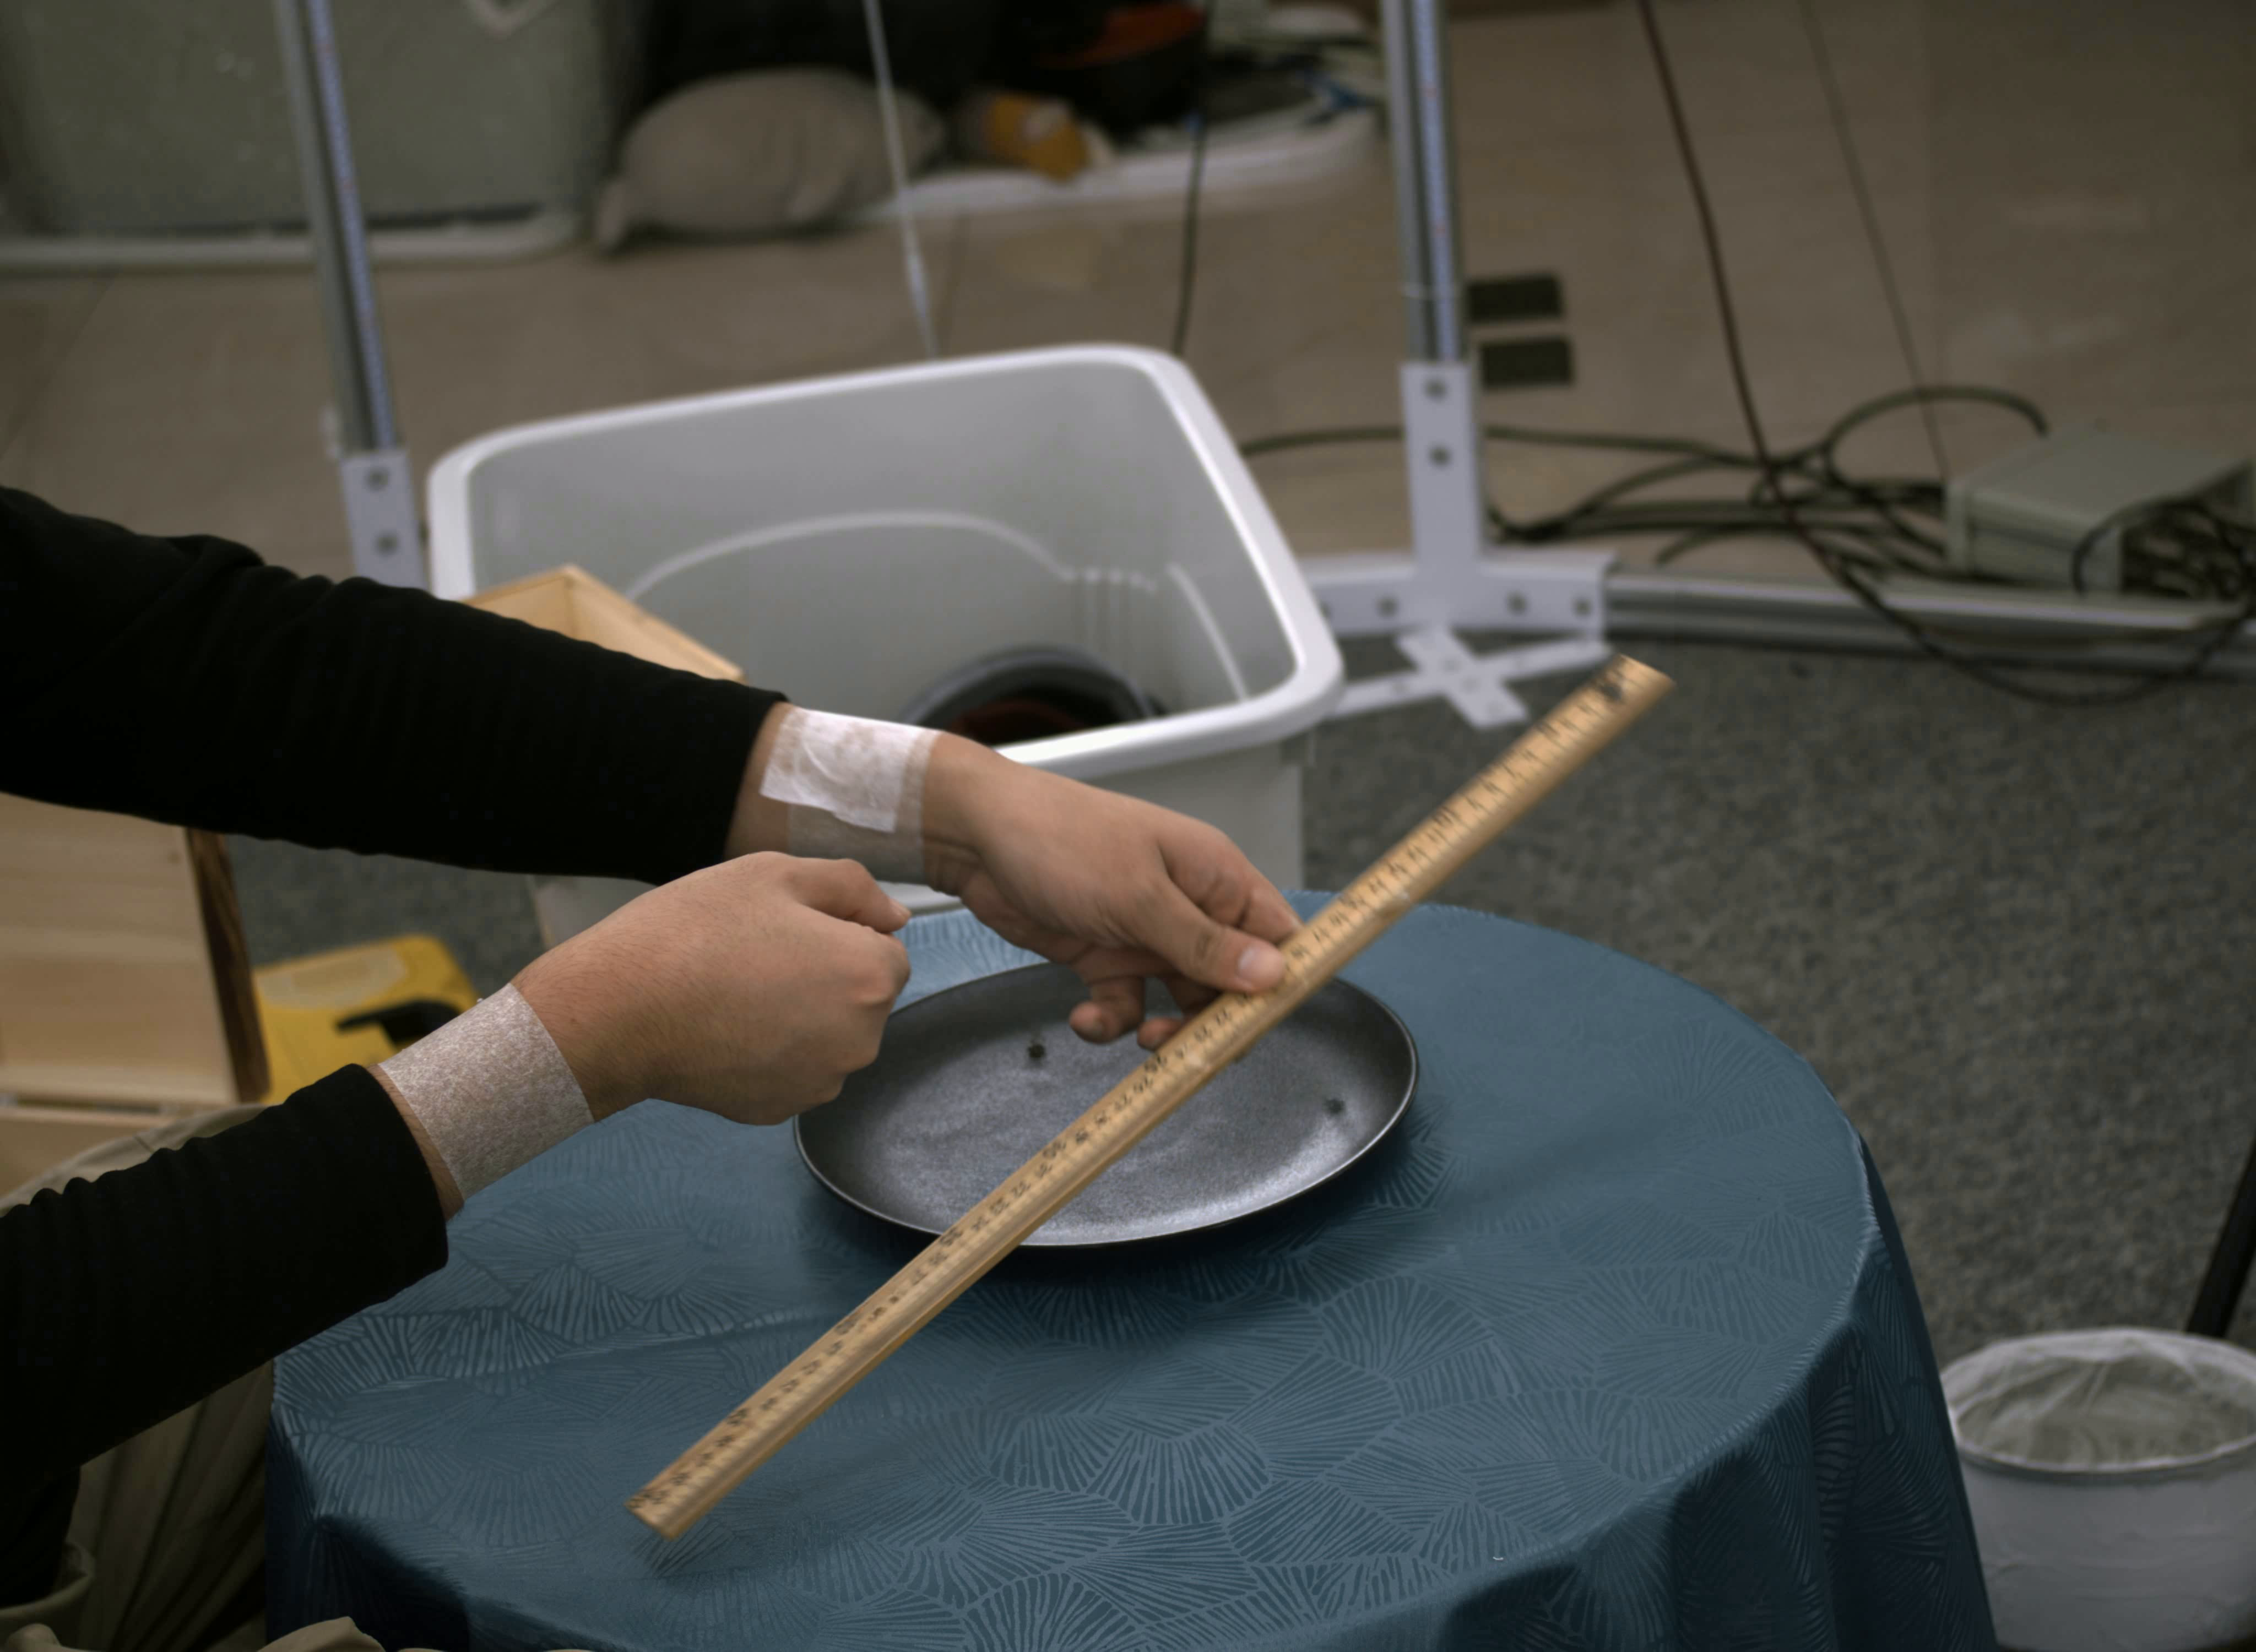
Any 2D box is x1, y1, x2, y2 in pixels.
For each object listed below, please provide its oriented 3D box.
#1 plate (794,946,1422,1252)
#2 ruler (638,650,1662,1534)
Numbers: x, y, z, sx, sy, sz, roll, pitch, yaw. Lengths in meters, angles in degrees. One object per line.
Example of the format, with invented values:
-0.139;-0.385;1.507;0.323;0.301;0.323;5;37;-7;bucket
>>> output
-0.007;0.110;2.184;0.244;0.024;0.241;-5;25;3;plate
0.015;0.086;2.022;0.496;0.006;0.026;-40;43;-22;ruler
